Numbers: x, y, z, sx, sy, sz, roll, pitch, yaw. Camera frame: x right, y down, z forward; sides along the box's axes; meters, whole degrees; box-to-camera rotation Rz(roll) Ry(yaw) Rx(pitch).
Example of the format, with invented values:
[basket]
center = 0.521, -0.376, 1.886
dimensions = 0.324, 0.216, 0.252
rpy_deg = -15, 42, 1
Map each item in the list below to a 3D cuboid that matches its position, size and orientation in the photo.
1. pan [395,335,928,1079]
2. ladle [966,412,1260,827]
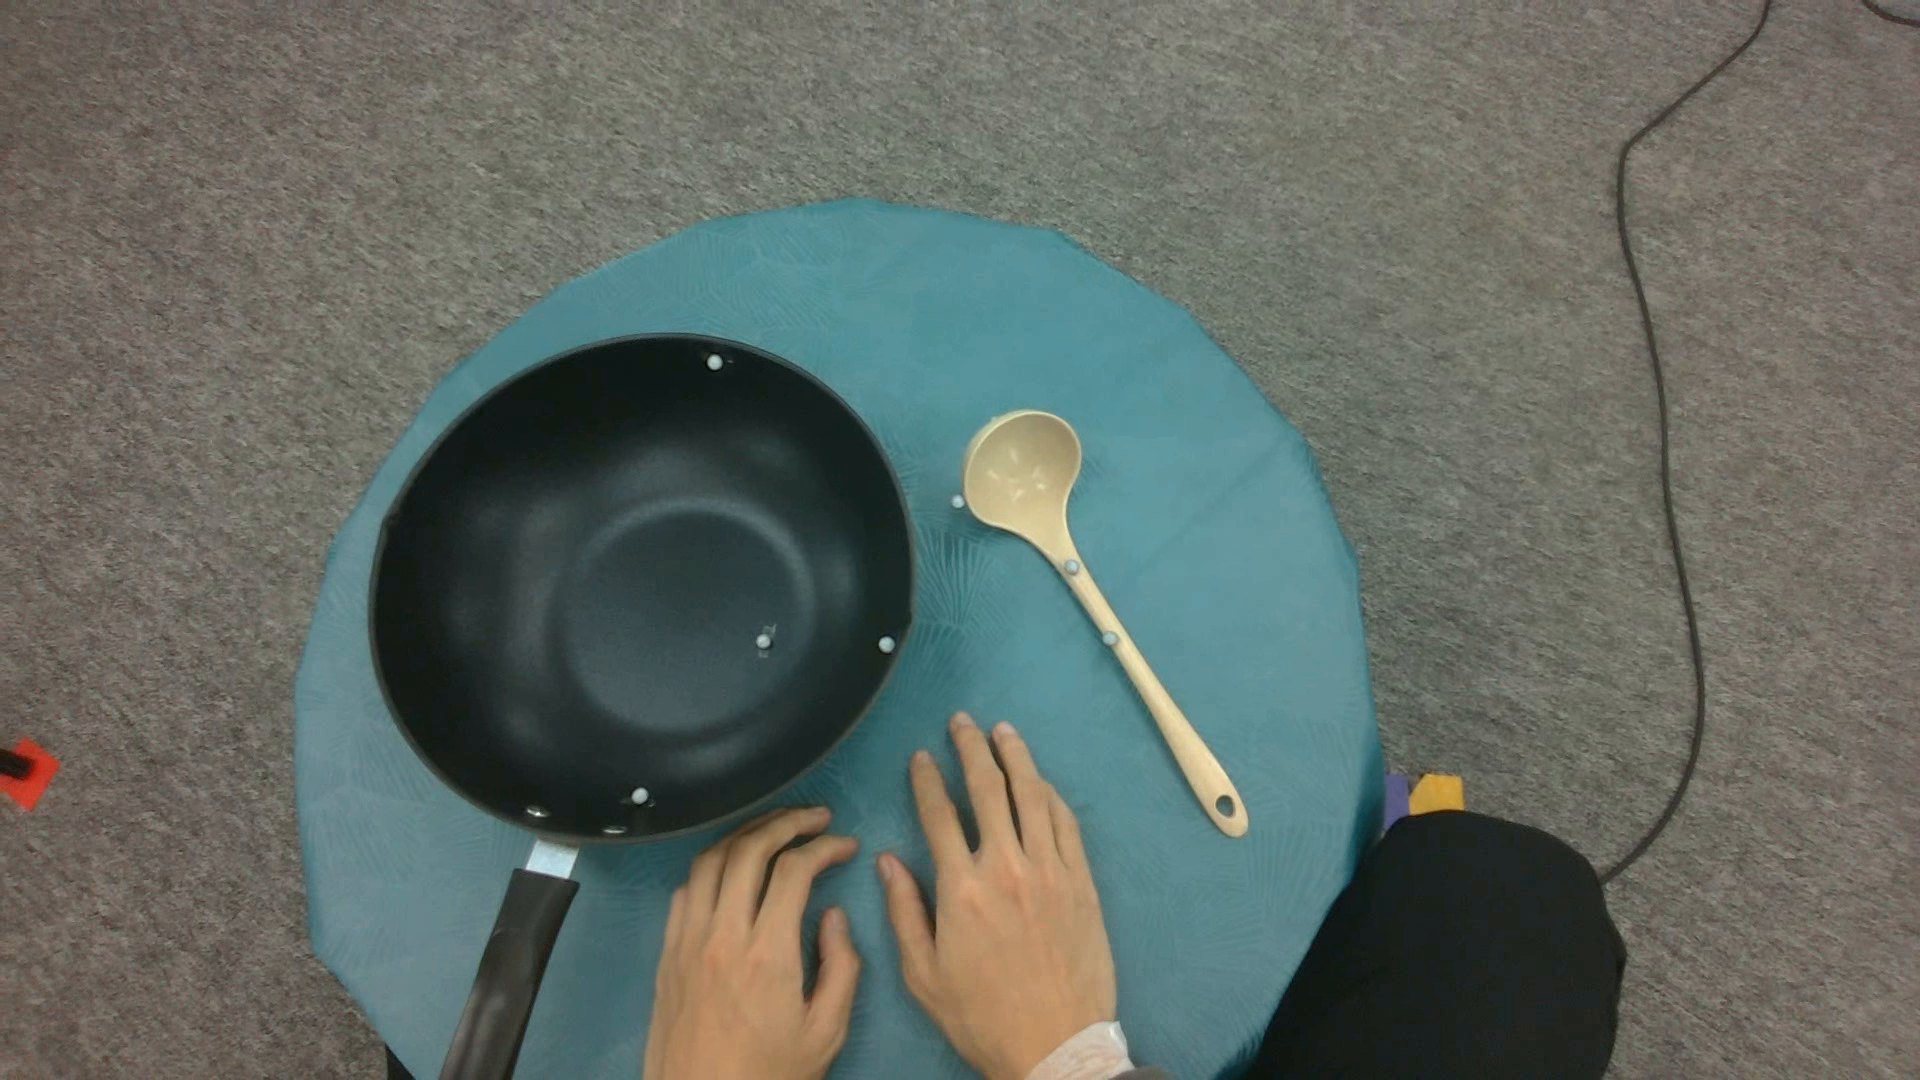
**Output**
[pan]
center = -0.177, 0.113, 0.726
dimensions = 0.288, 0.086, 0.465
rpy_deg = 11, 70, 8
[ladle]
center = 0.090, 0.039, 0.743
dimensions = 0.072, 0.072, 0.255
rpy_deg = -29, 69, -14
